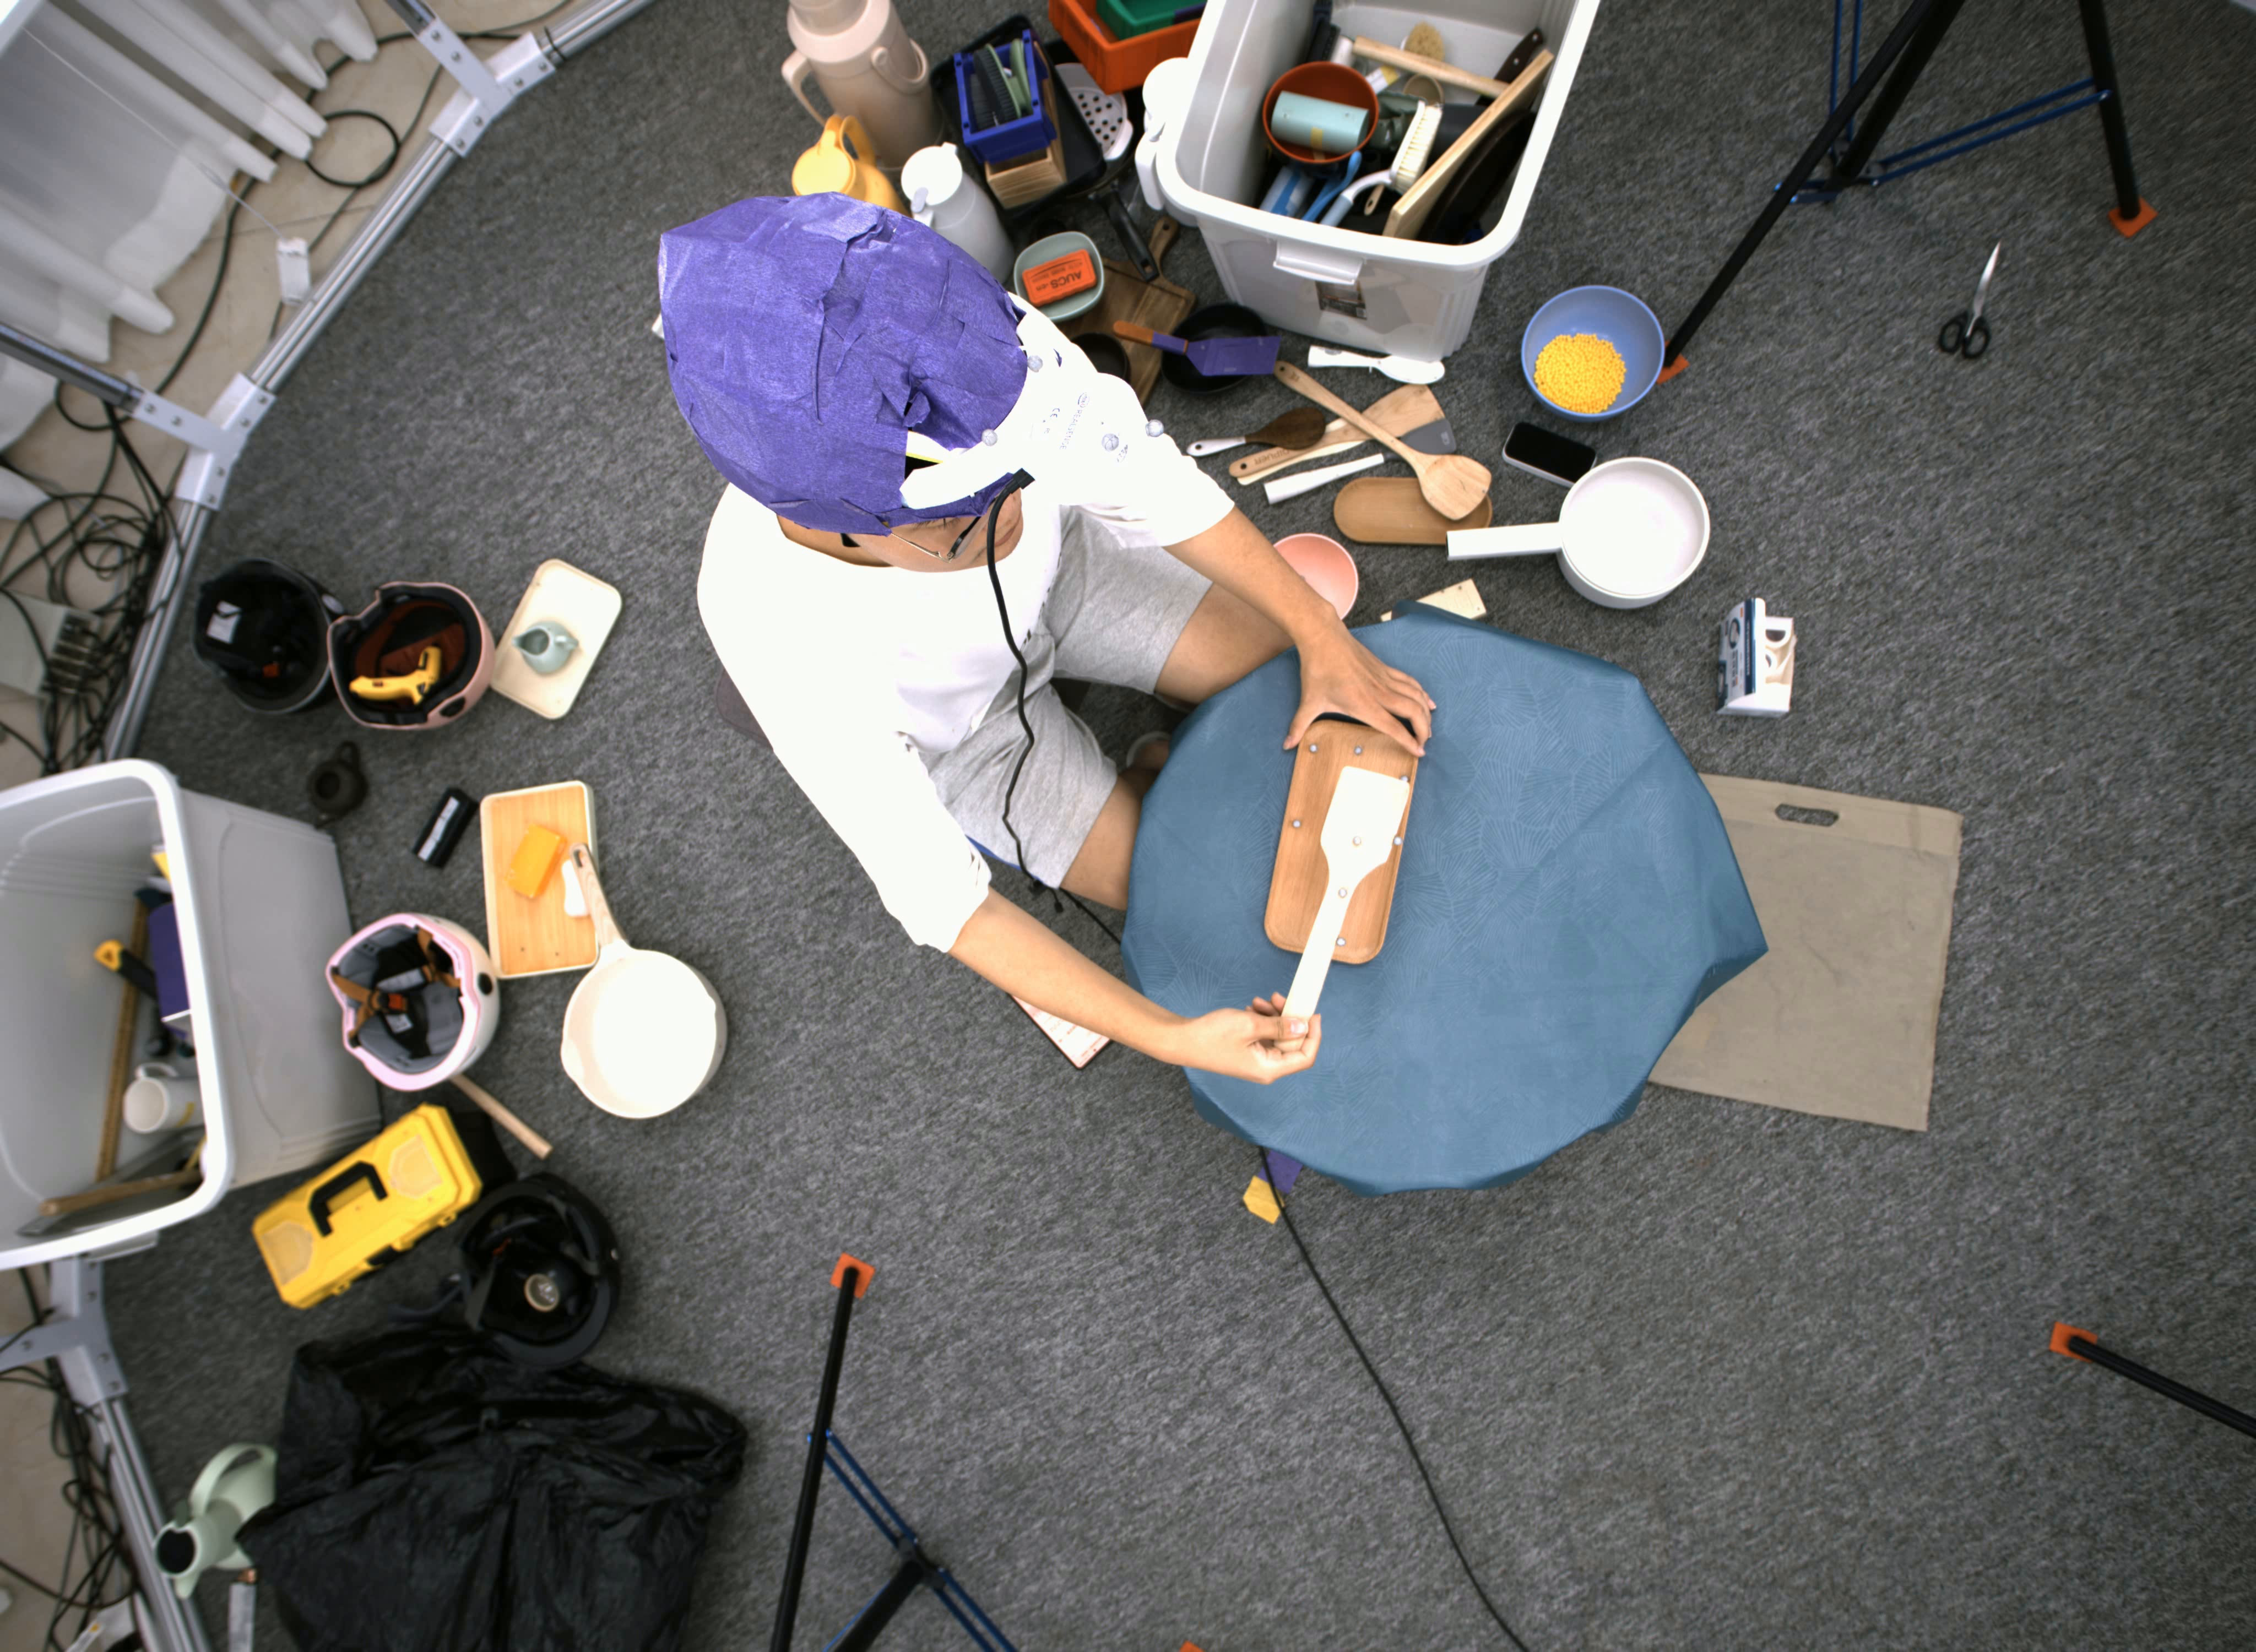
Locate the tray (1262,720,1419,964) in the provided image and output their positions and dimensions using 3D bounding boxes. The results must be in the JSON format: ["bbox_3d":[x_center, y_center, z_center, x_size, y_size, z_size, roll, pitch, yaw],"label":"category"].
[{"bbox_3d":[0.225,0.015,1.464,0.131,0.023,0.250,12,90,14],"label":"tray"}]

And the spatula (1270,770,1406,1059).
[{"bbox_3d":[0.195,0.084,1.331,0.072,0.011,0.289,17,78,15],"label":"spatula"}]
